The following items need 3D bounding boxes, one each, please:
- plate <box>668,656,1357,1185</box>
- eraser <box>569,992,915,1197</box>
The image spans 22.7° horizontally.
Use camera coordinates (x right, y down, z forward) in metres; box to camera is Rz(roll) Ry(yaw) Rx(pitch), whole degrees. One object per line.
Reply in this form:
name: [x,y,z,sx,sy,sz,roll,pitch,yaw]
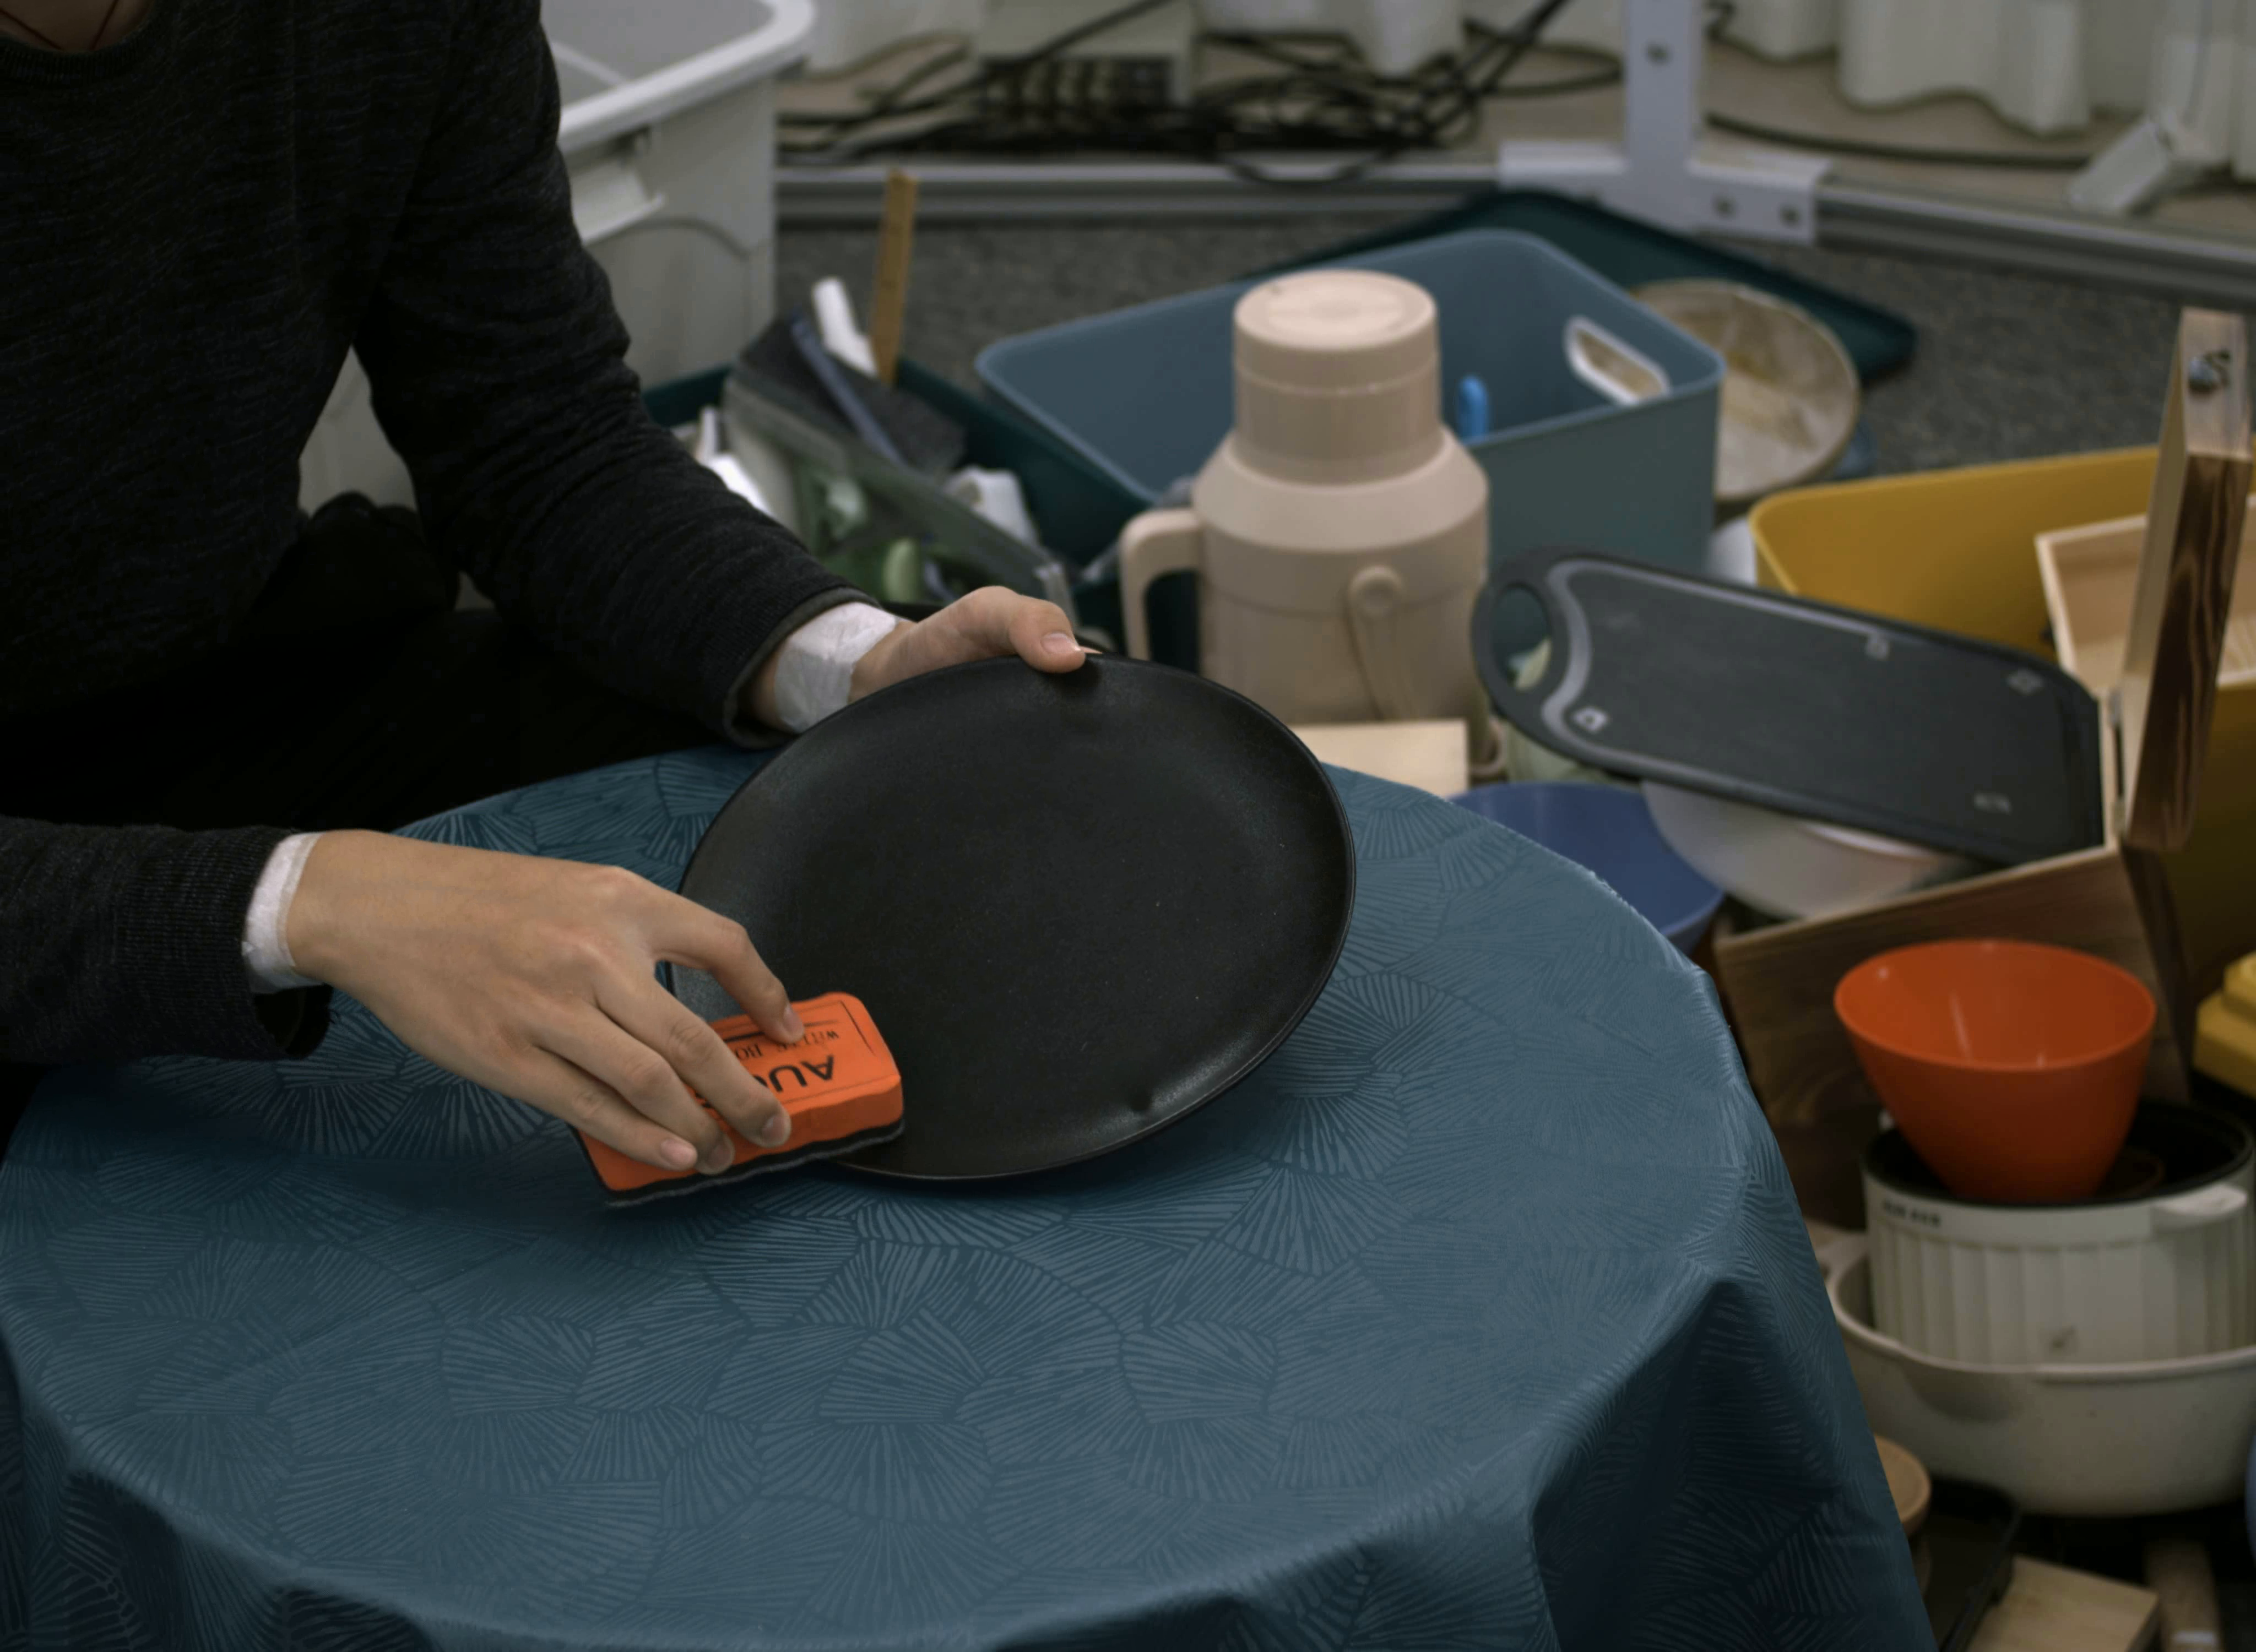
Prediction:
plate: [-0.039,0.034,1.946,0.243,0.023,0.249,-6,45,7]
eraser: [-0.129,0.090,1.877,0.108,0.022,0.059,-14,31,-17]
